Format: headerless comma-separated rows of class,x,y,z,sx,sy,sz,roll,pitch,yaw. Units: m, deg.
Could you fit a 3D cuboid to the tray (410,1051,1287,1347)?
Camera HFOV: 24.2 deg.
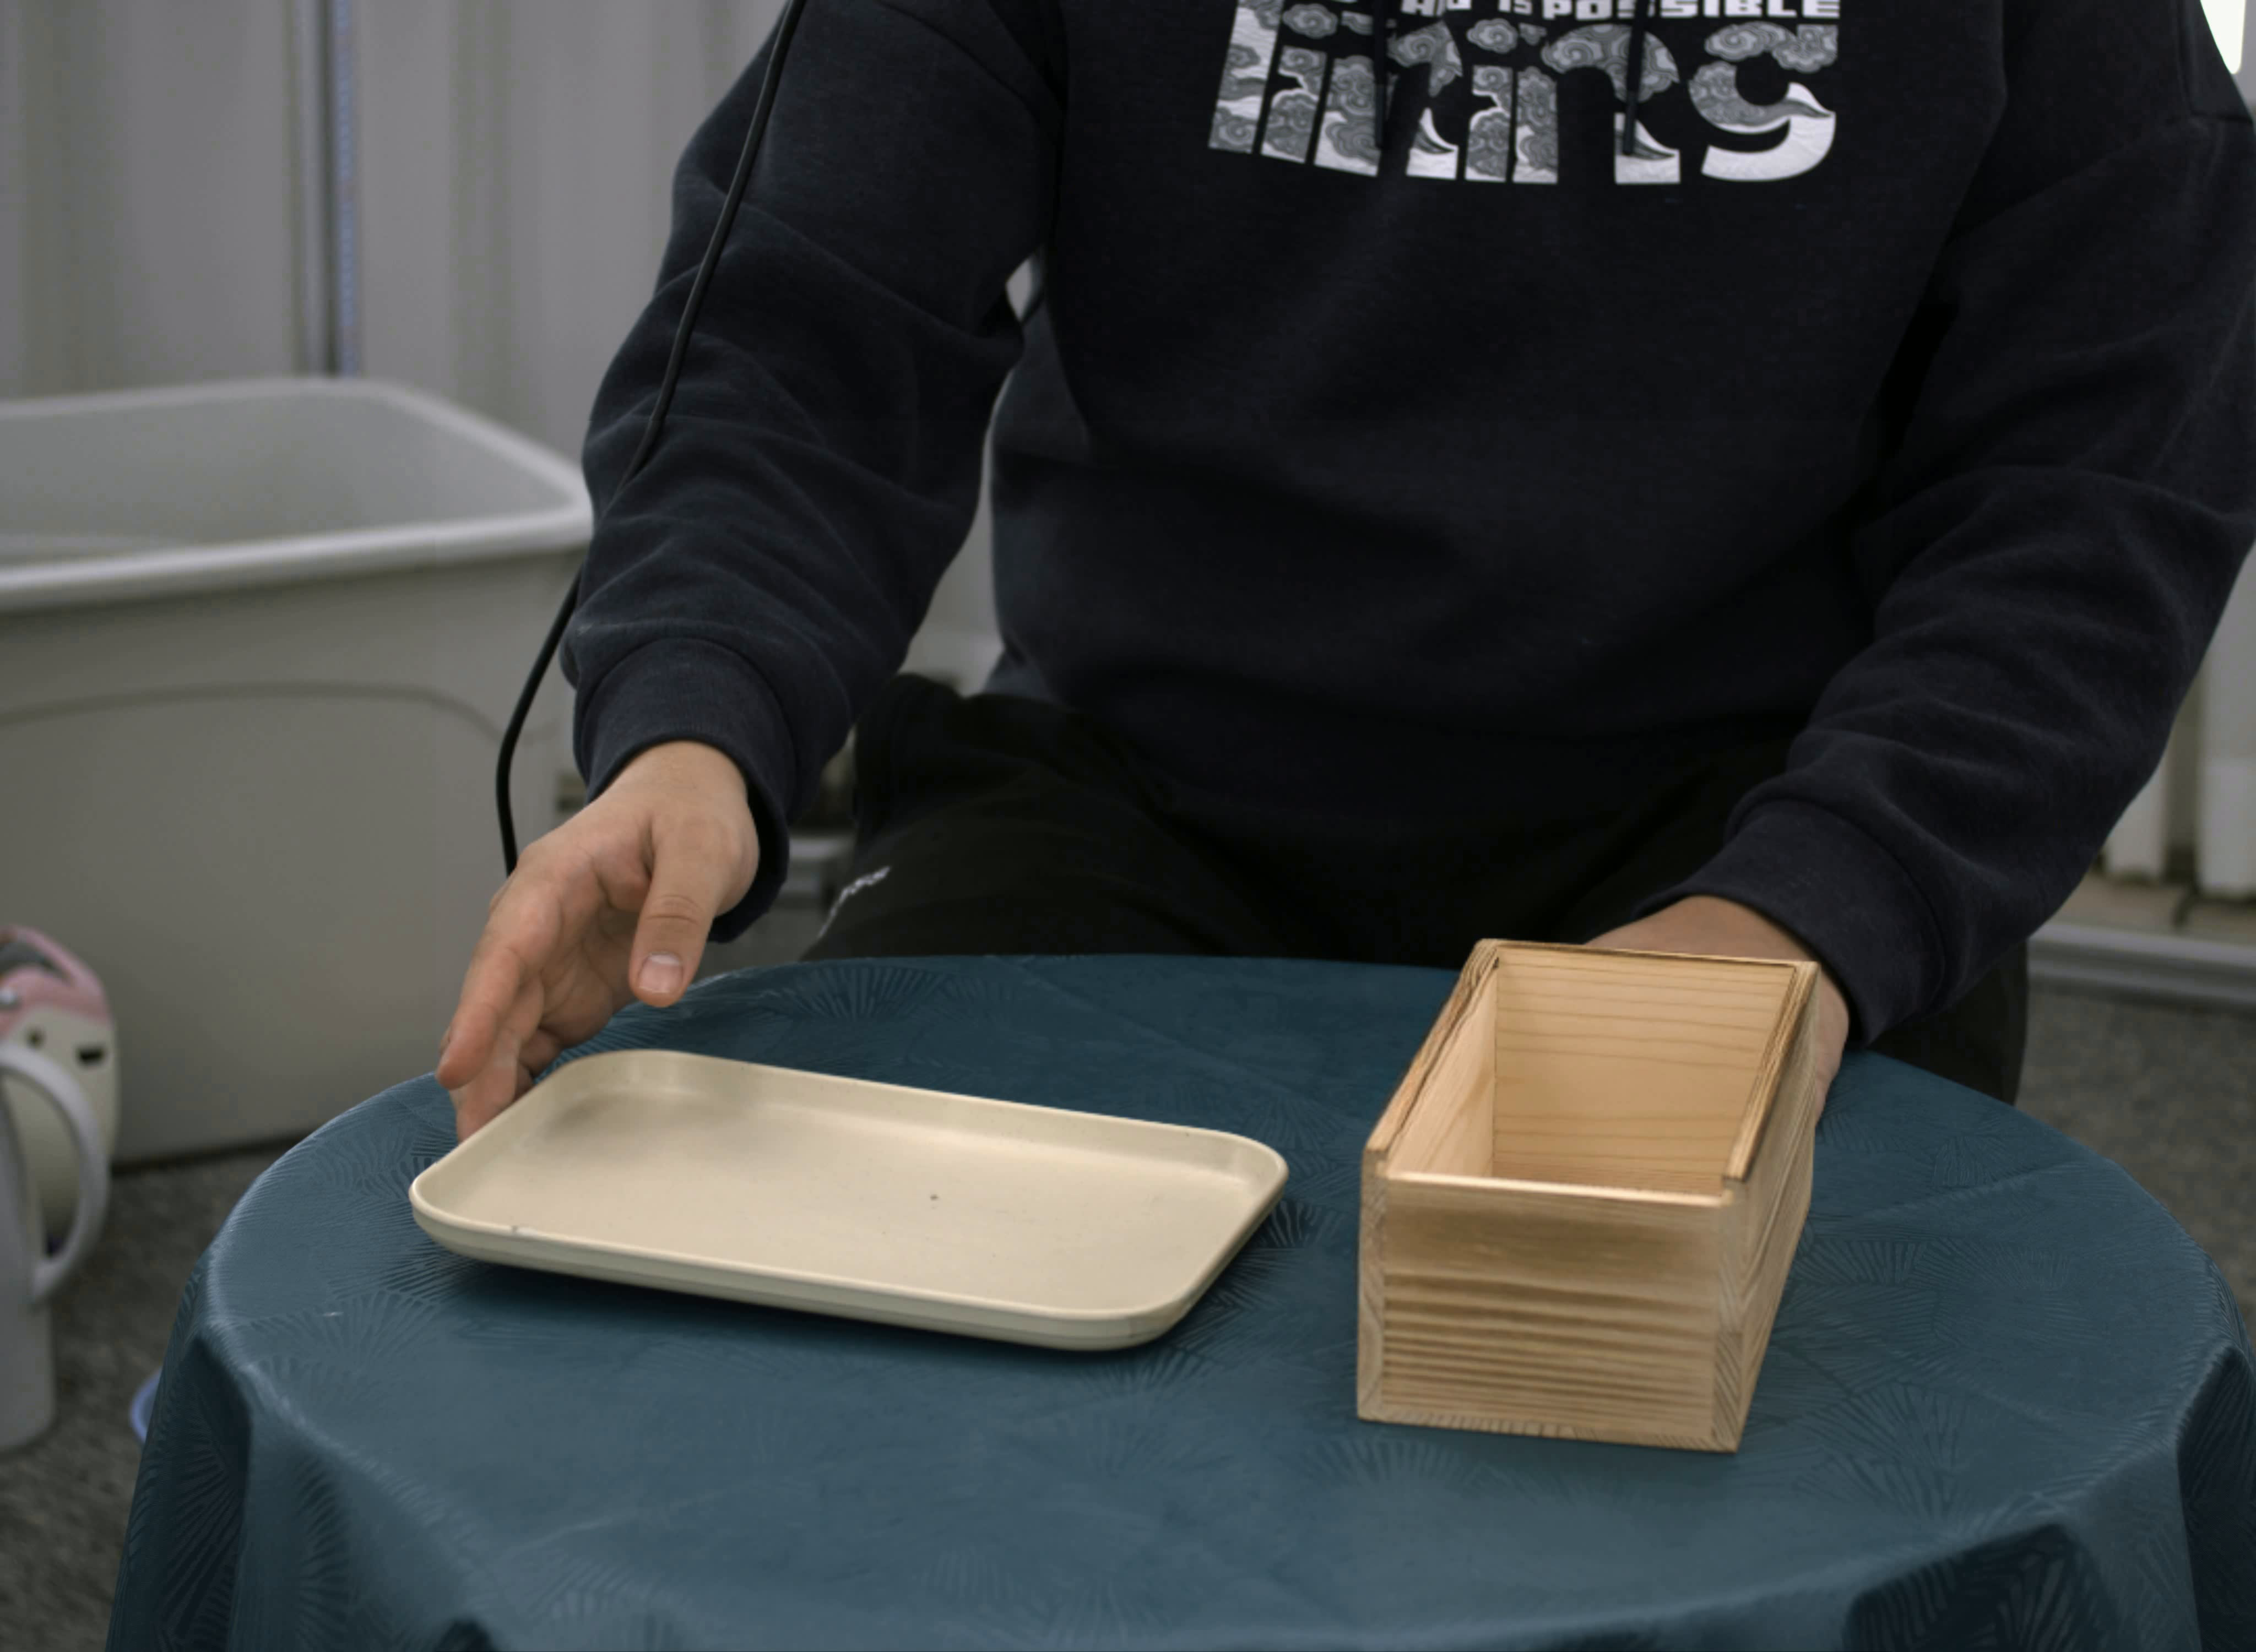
tray,-0.081,0.111,1.578,0.238,0.017,0.171,7,16,15

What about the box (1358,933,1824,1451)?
box,0.137,0.101,1.523,0.107,0.081,0.211,4,16,11
